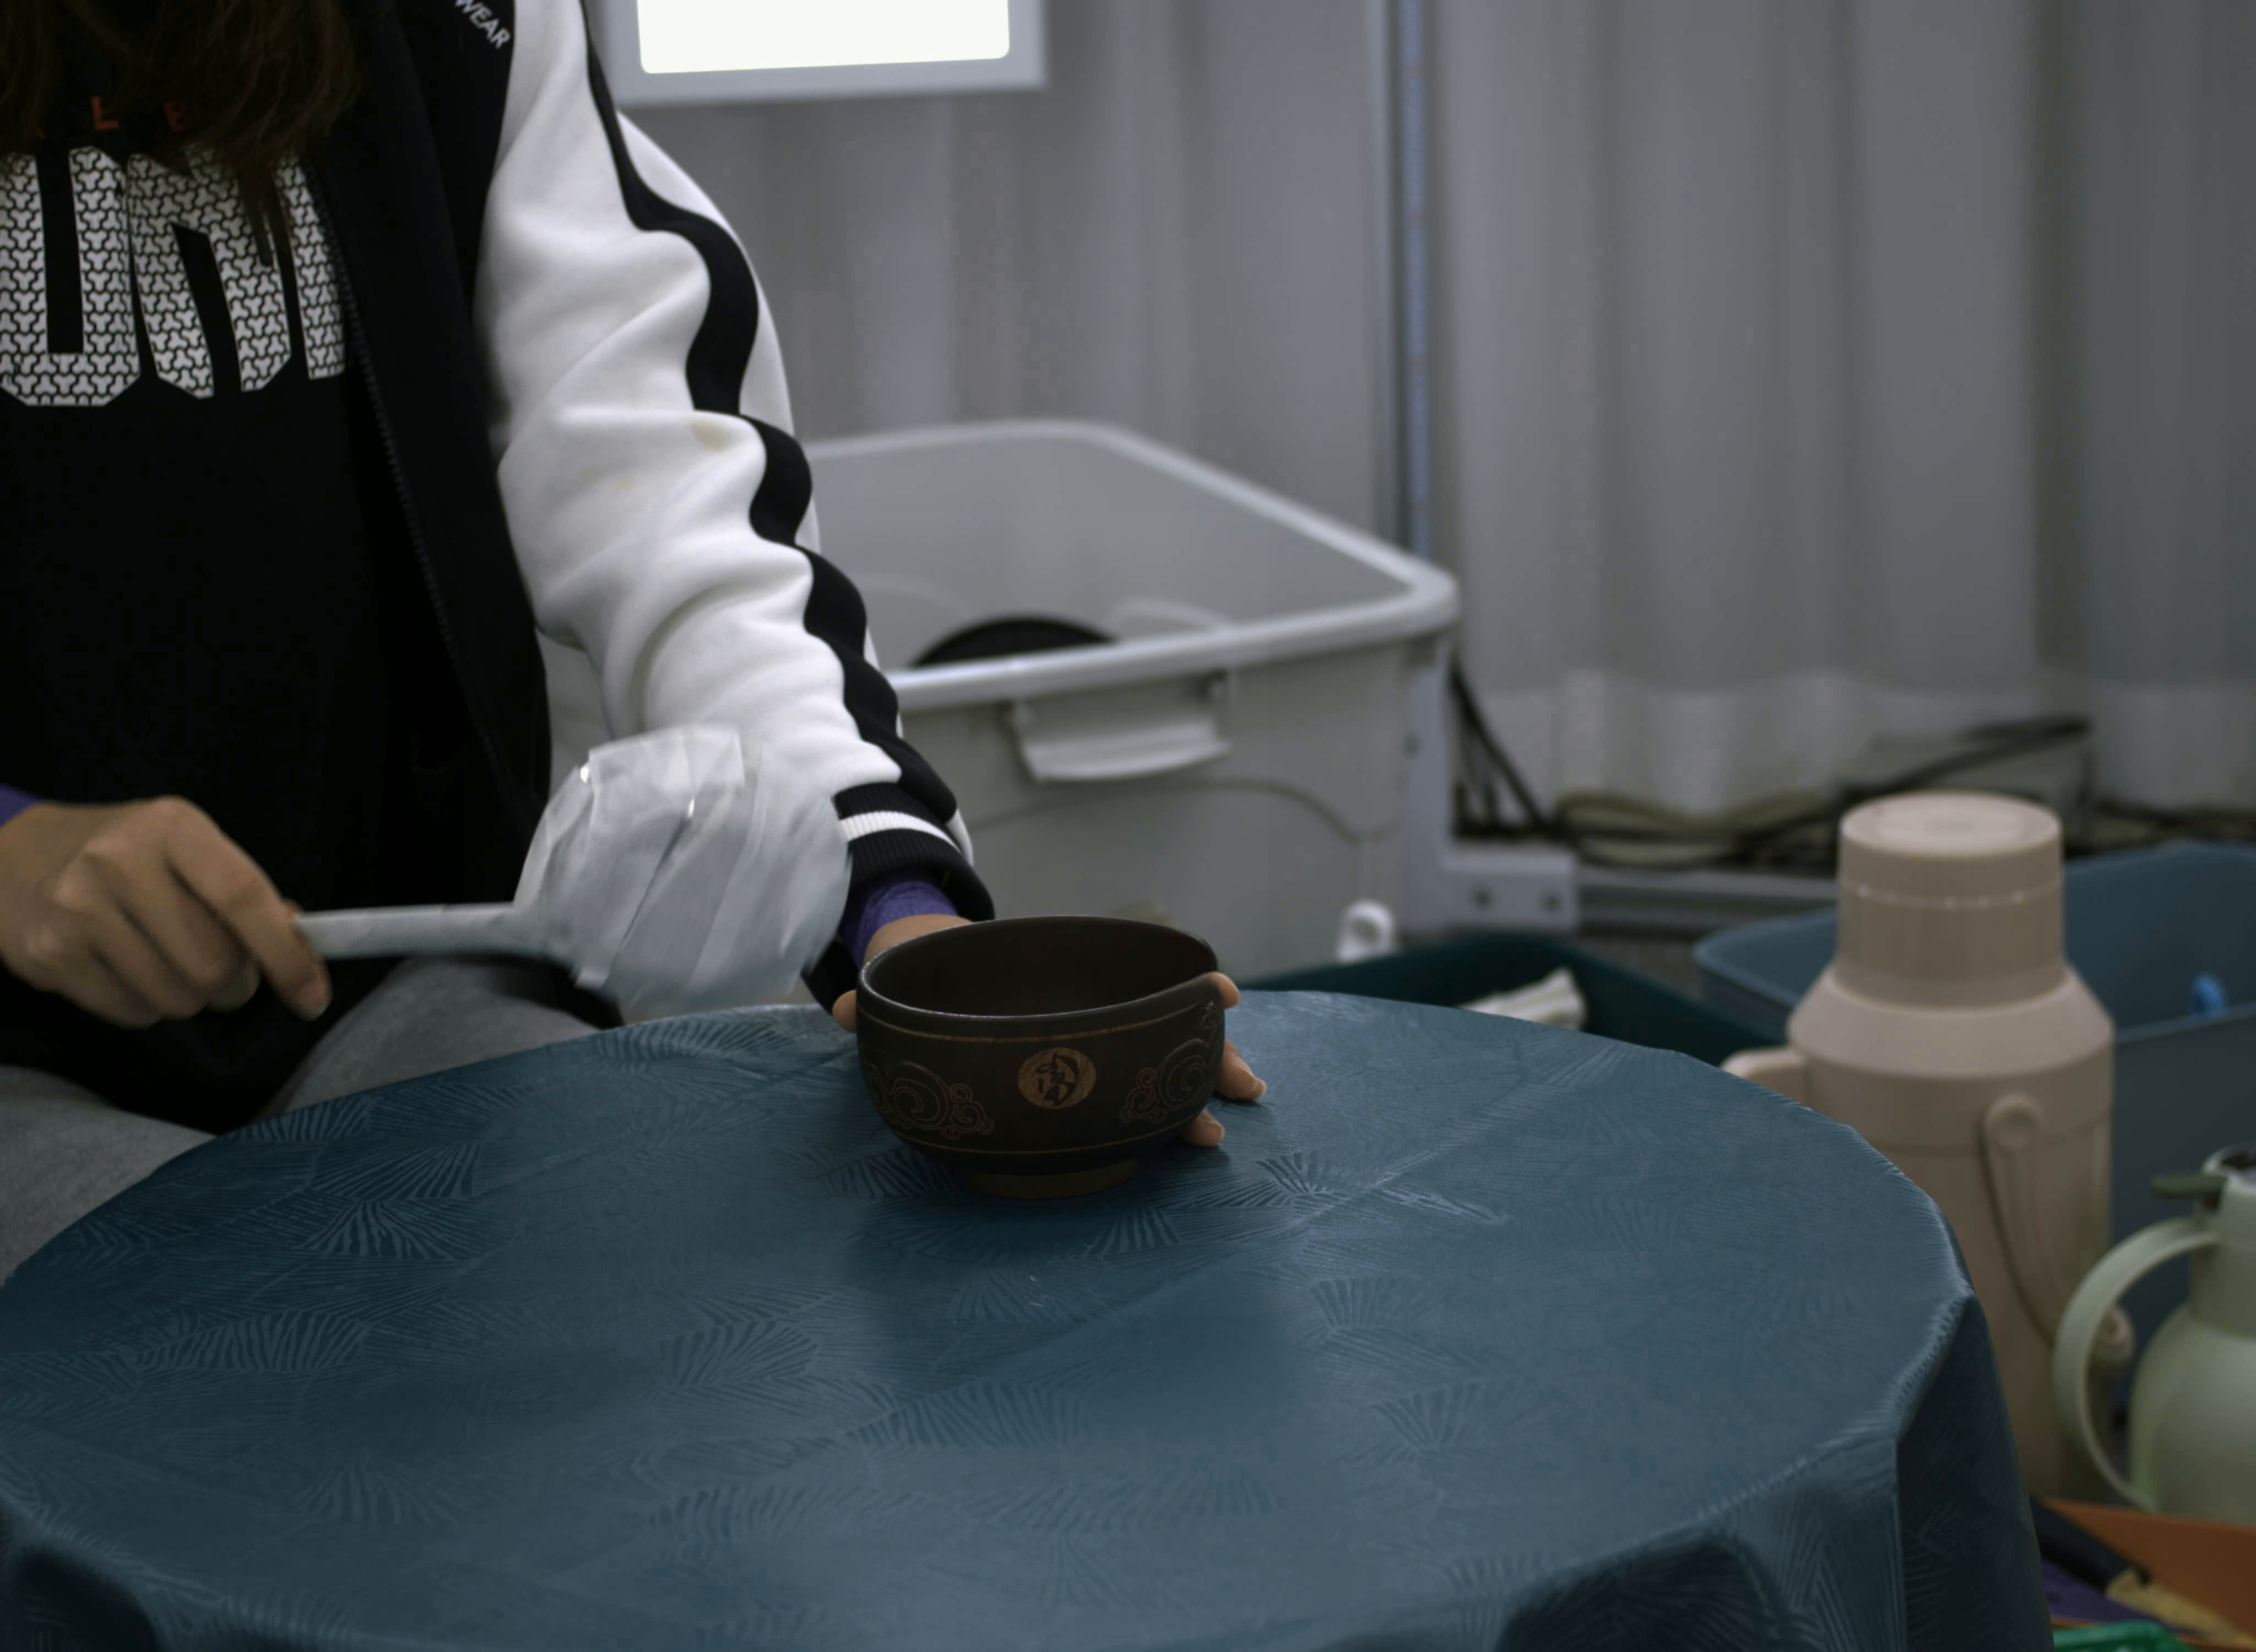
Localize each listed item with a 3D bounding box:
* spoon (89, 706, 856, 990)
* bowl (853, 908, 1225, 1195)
[{"bbox_3d":[-0.203,0.015,1.661,0.278,0.099,0.060,-4,34,38],"label":"spoon"},{"bbox_3d":[-0.027,0.075,1.728,0.117,0.069,0.119,-2,14,0],"label":"bowl"}]
